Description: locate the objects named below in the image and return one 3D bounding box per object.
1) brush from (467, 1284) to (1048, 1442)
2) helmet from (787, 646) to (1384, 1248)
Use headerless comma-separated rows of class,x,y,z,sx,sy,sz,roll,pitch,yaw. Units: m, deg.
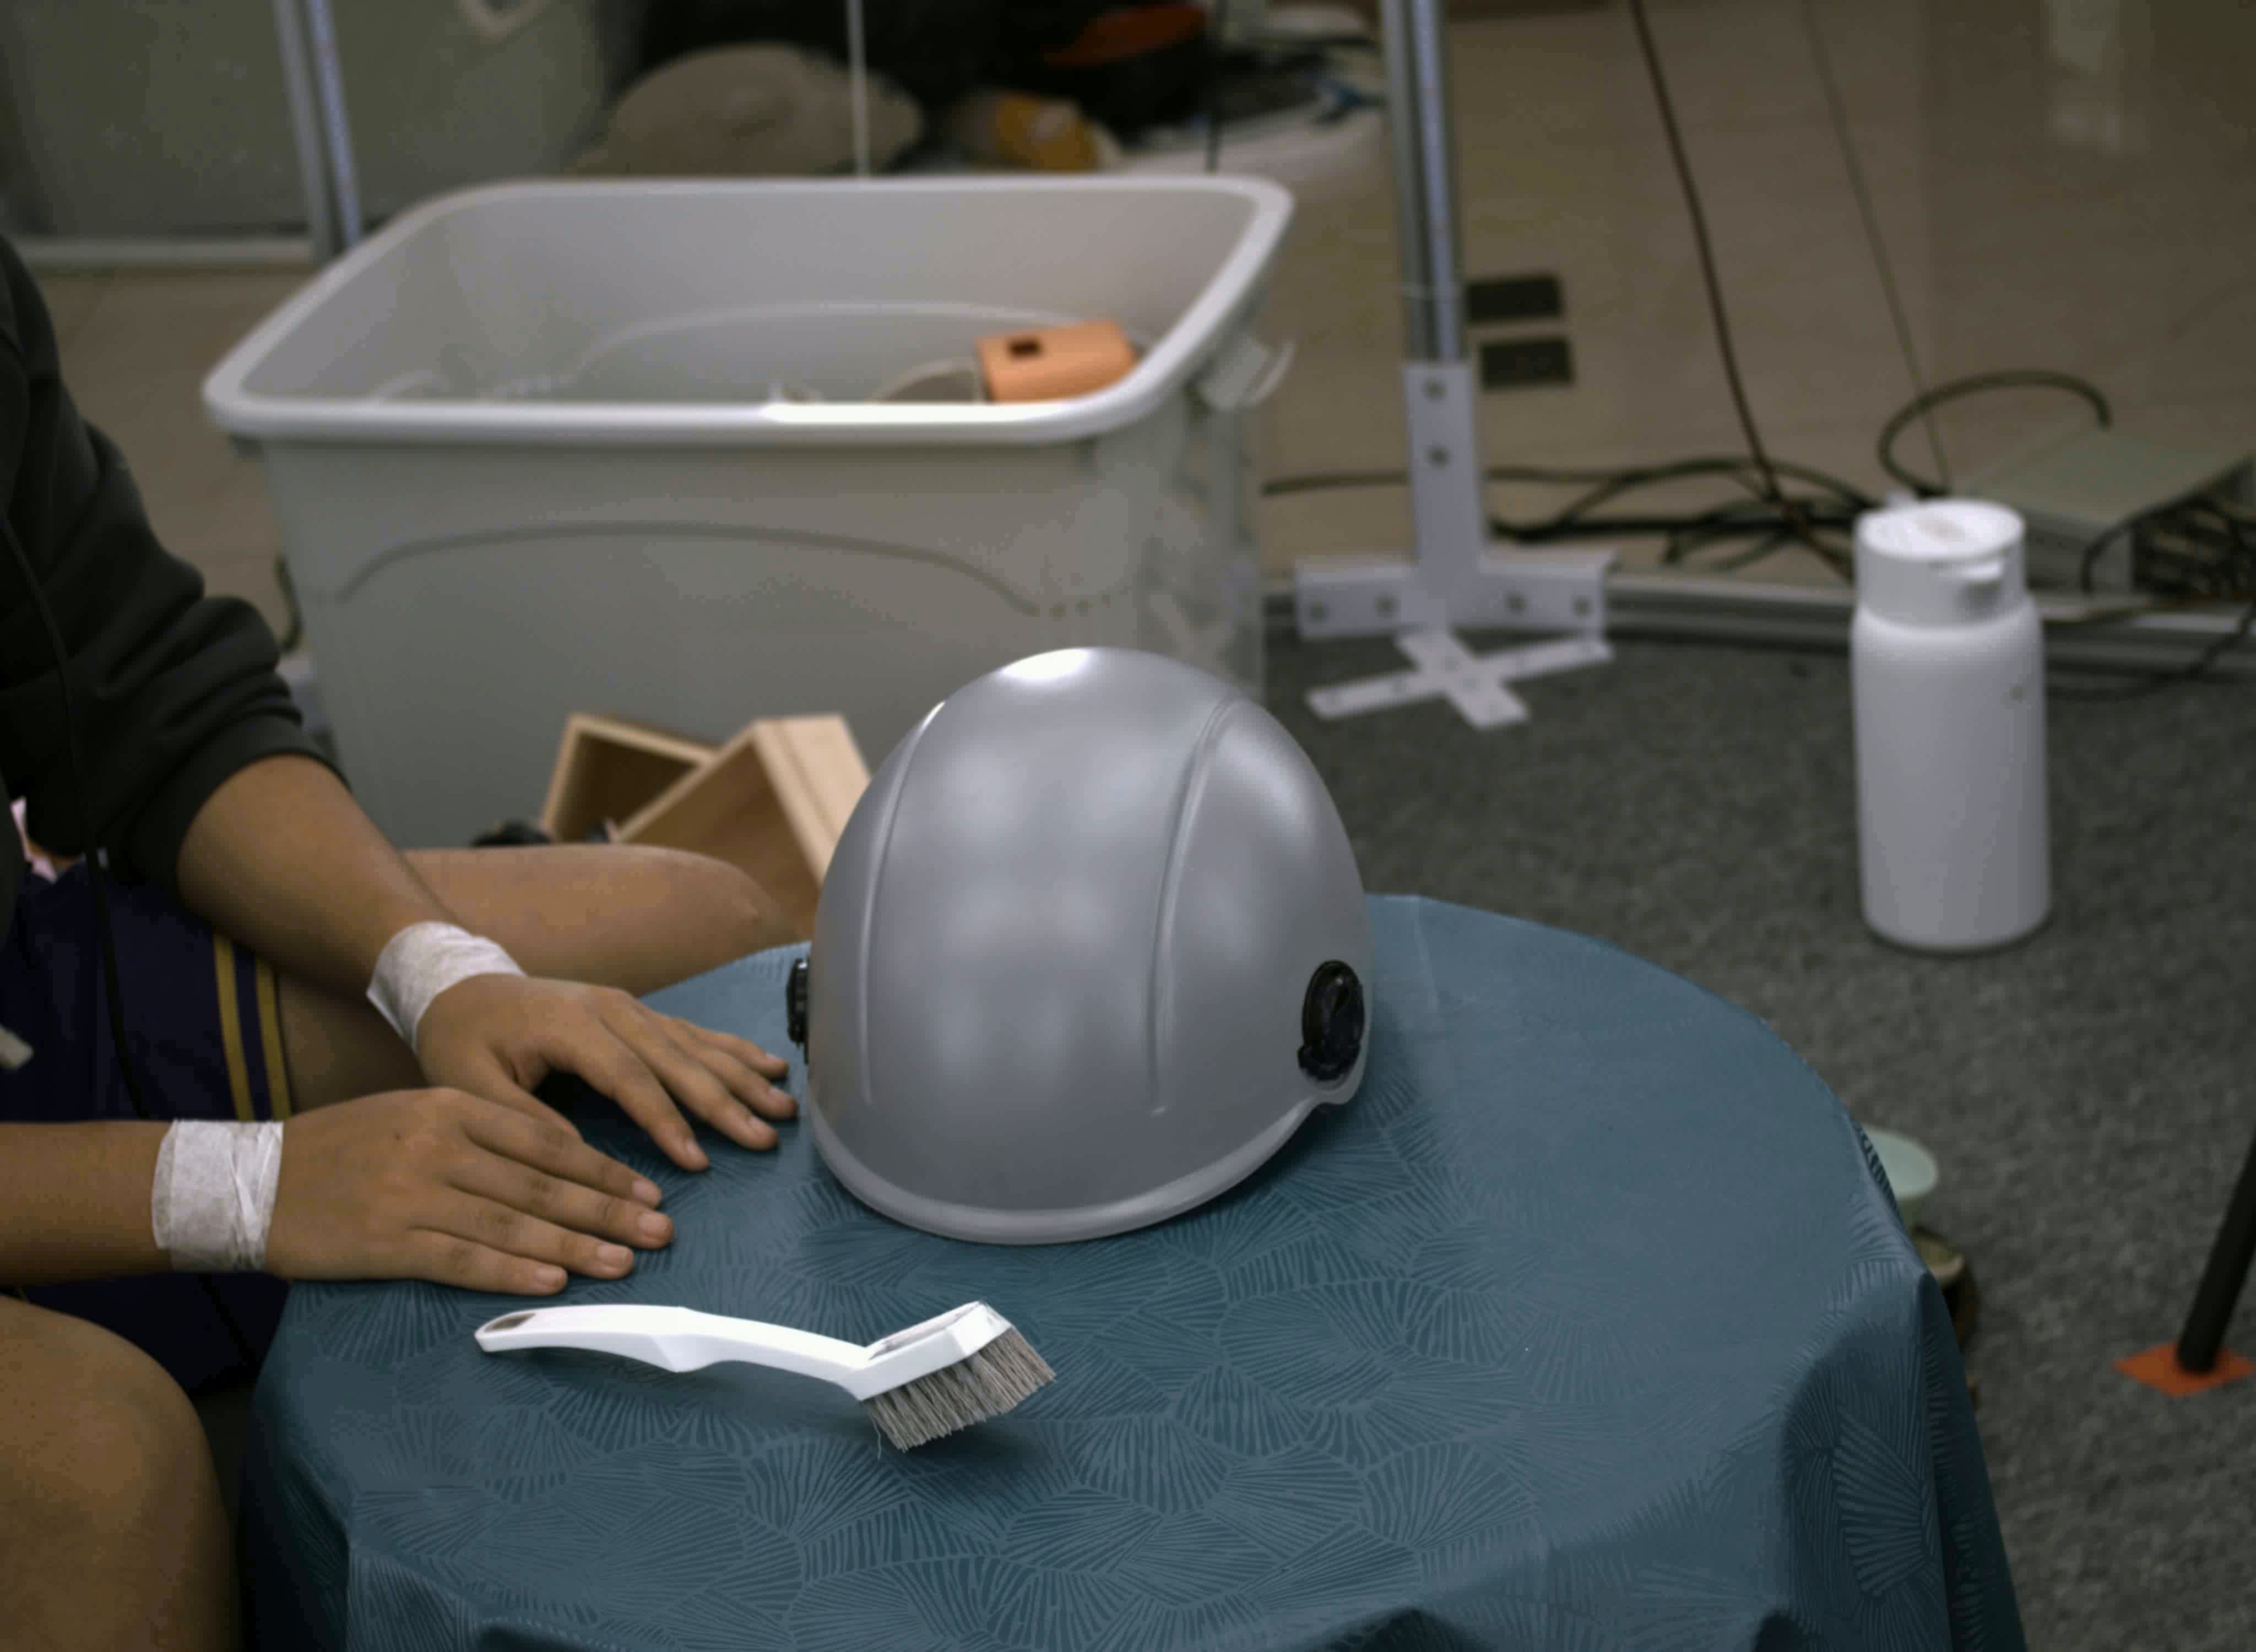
brush,-0.135,0.196,2.030,0.243,0.051,0.034,-6,18,34
helmet,-0.019,0.026,2.197,0.231,0.171,0.272,1,28,15
